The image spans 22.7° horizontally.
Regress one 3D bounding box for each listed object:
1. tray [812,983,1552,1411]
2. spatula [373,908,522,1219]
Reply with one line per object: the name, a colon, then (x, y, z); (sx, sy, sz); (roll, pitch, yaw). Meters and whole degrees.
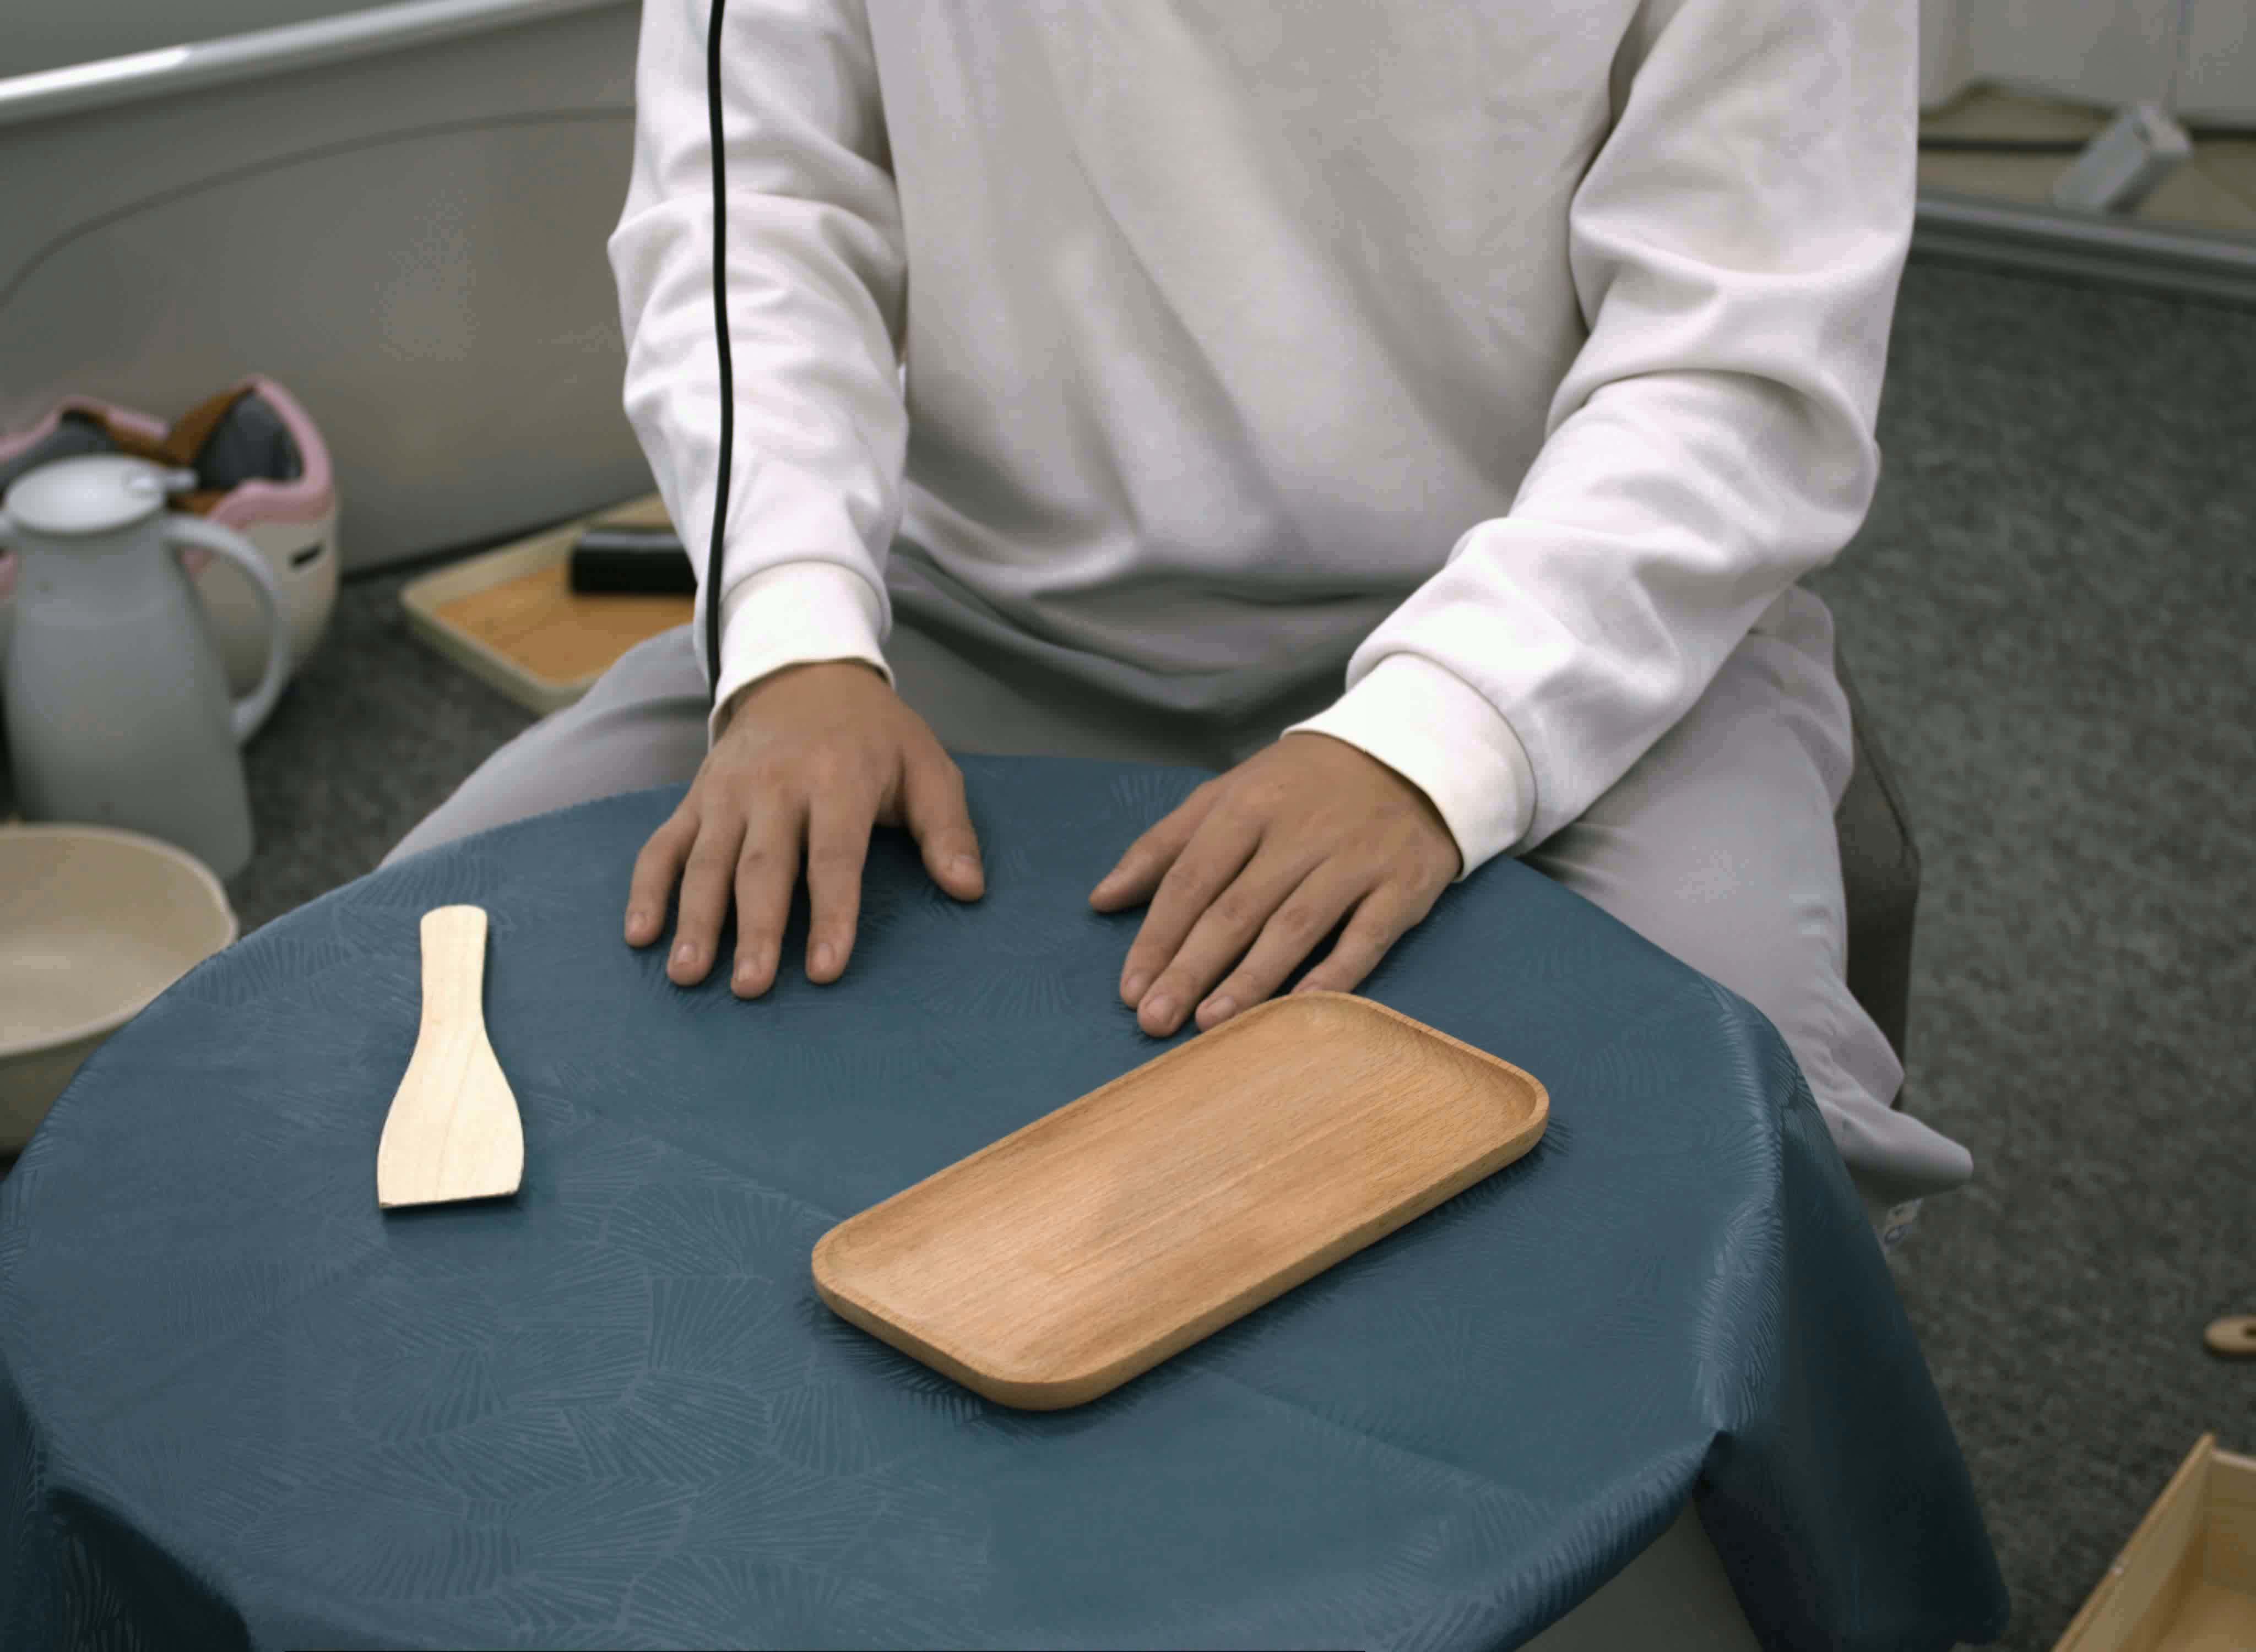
tray: (0.020, 0.120, 1.846); (0.253, 0.022, 0.130); (-25, 38, -37)
spatula: (-0.234, 0.081, 1.955); (0.050, 0.005, 0.211); (-4, 28, -3)
